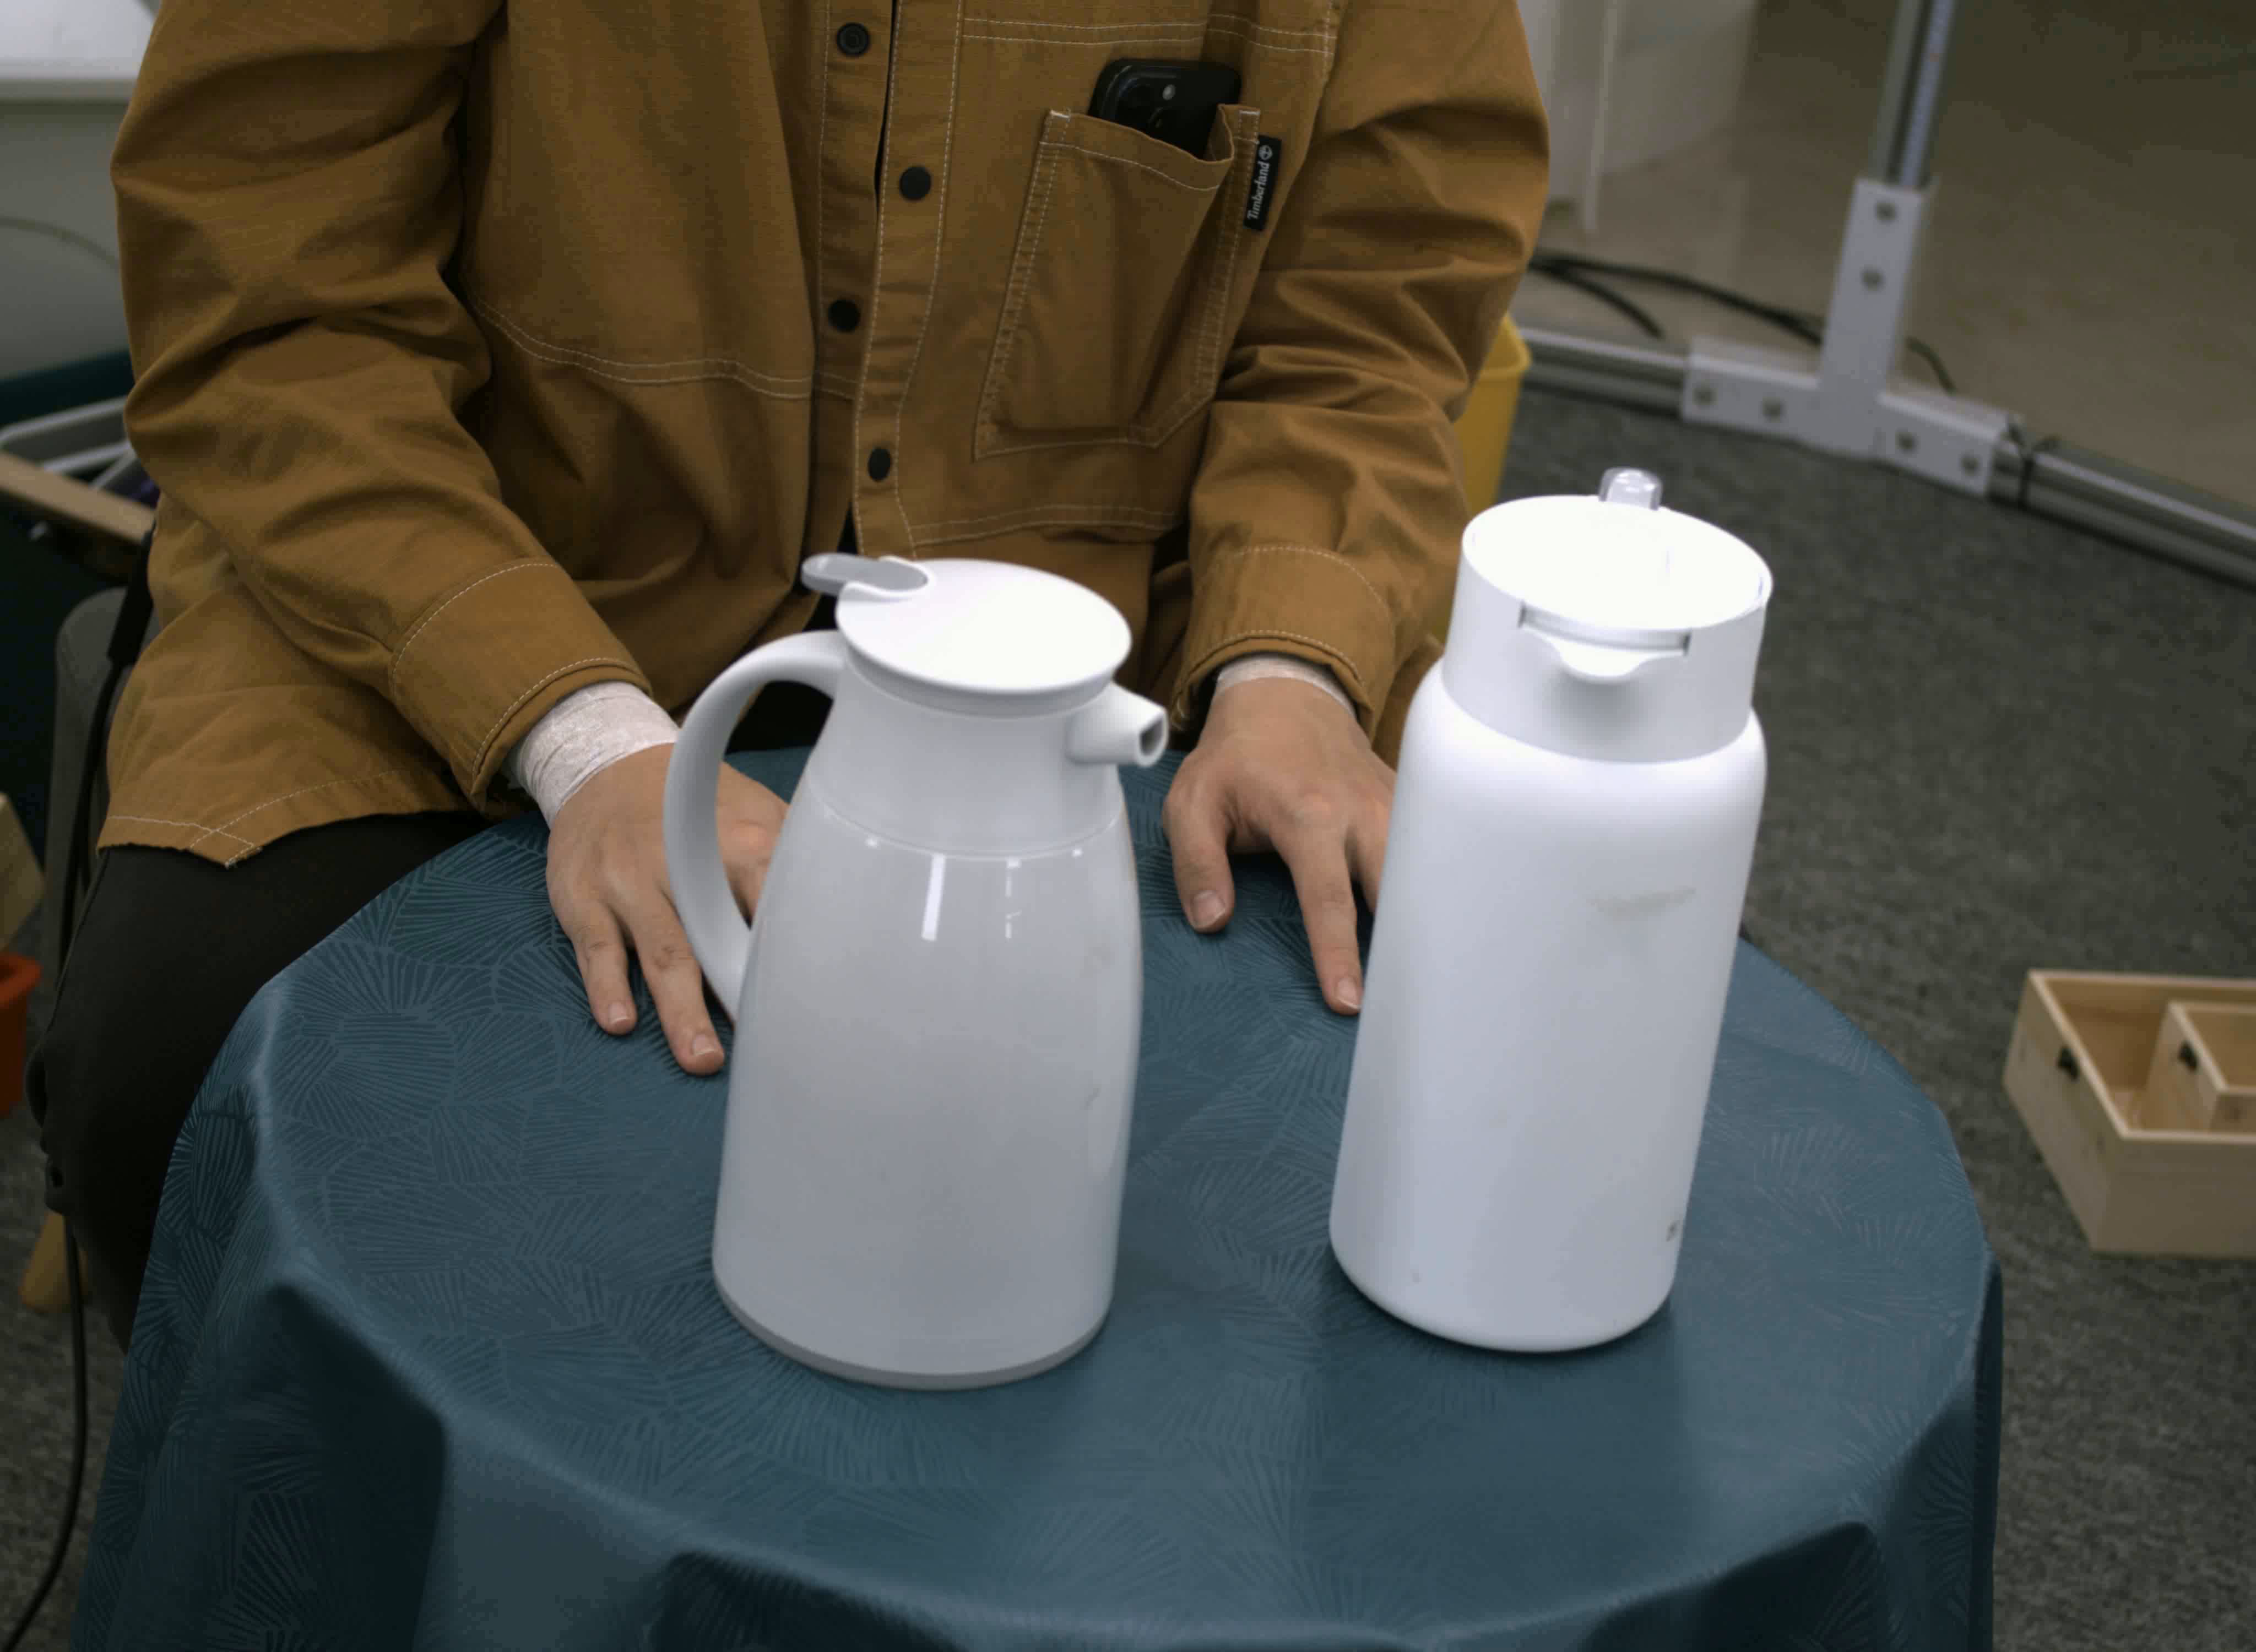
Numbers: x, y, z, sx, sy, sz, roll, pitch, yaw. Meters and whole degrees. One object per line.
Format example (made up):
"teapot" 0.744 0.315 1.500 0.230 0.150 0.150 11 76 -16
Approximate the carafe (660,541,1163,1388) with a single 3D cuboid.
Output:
"carafe" -0.076 0.034 1.692 0.168 0.248 0.132 18 28 22

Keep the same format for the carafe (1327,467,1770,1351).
"carafe" 0.139 0.023 1.740 0.123 0.268 0.173 7 26 6
